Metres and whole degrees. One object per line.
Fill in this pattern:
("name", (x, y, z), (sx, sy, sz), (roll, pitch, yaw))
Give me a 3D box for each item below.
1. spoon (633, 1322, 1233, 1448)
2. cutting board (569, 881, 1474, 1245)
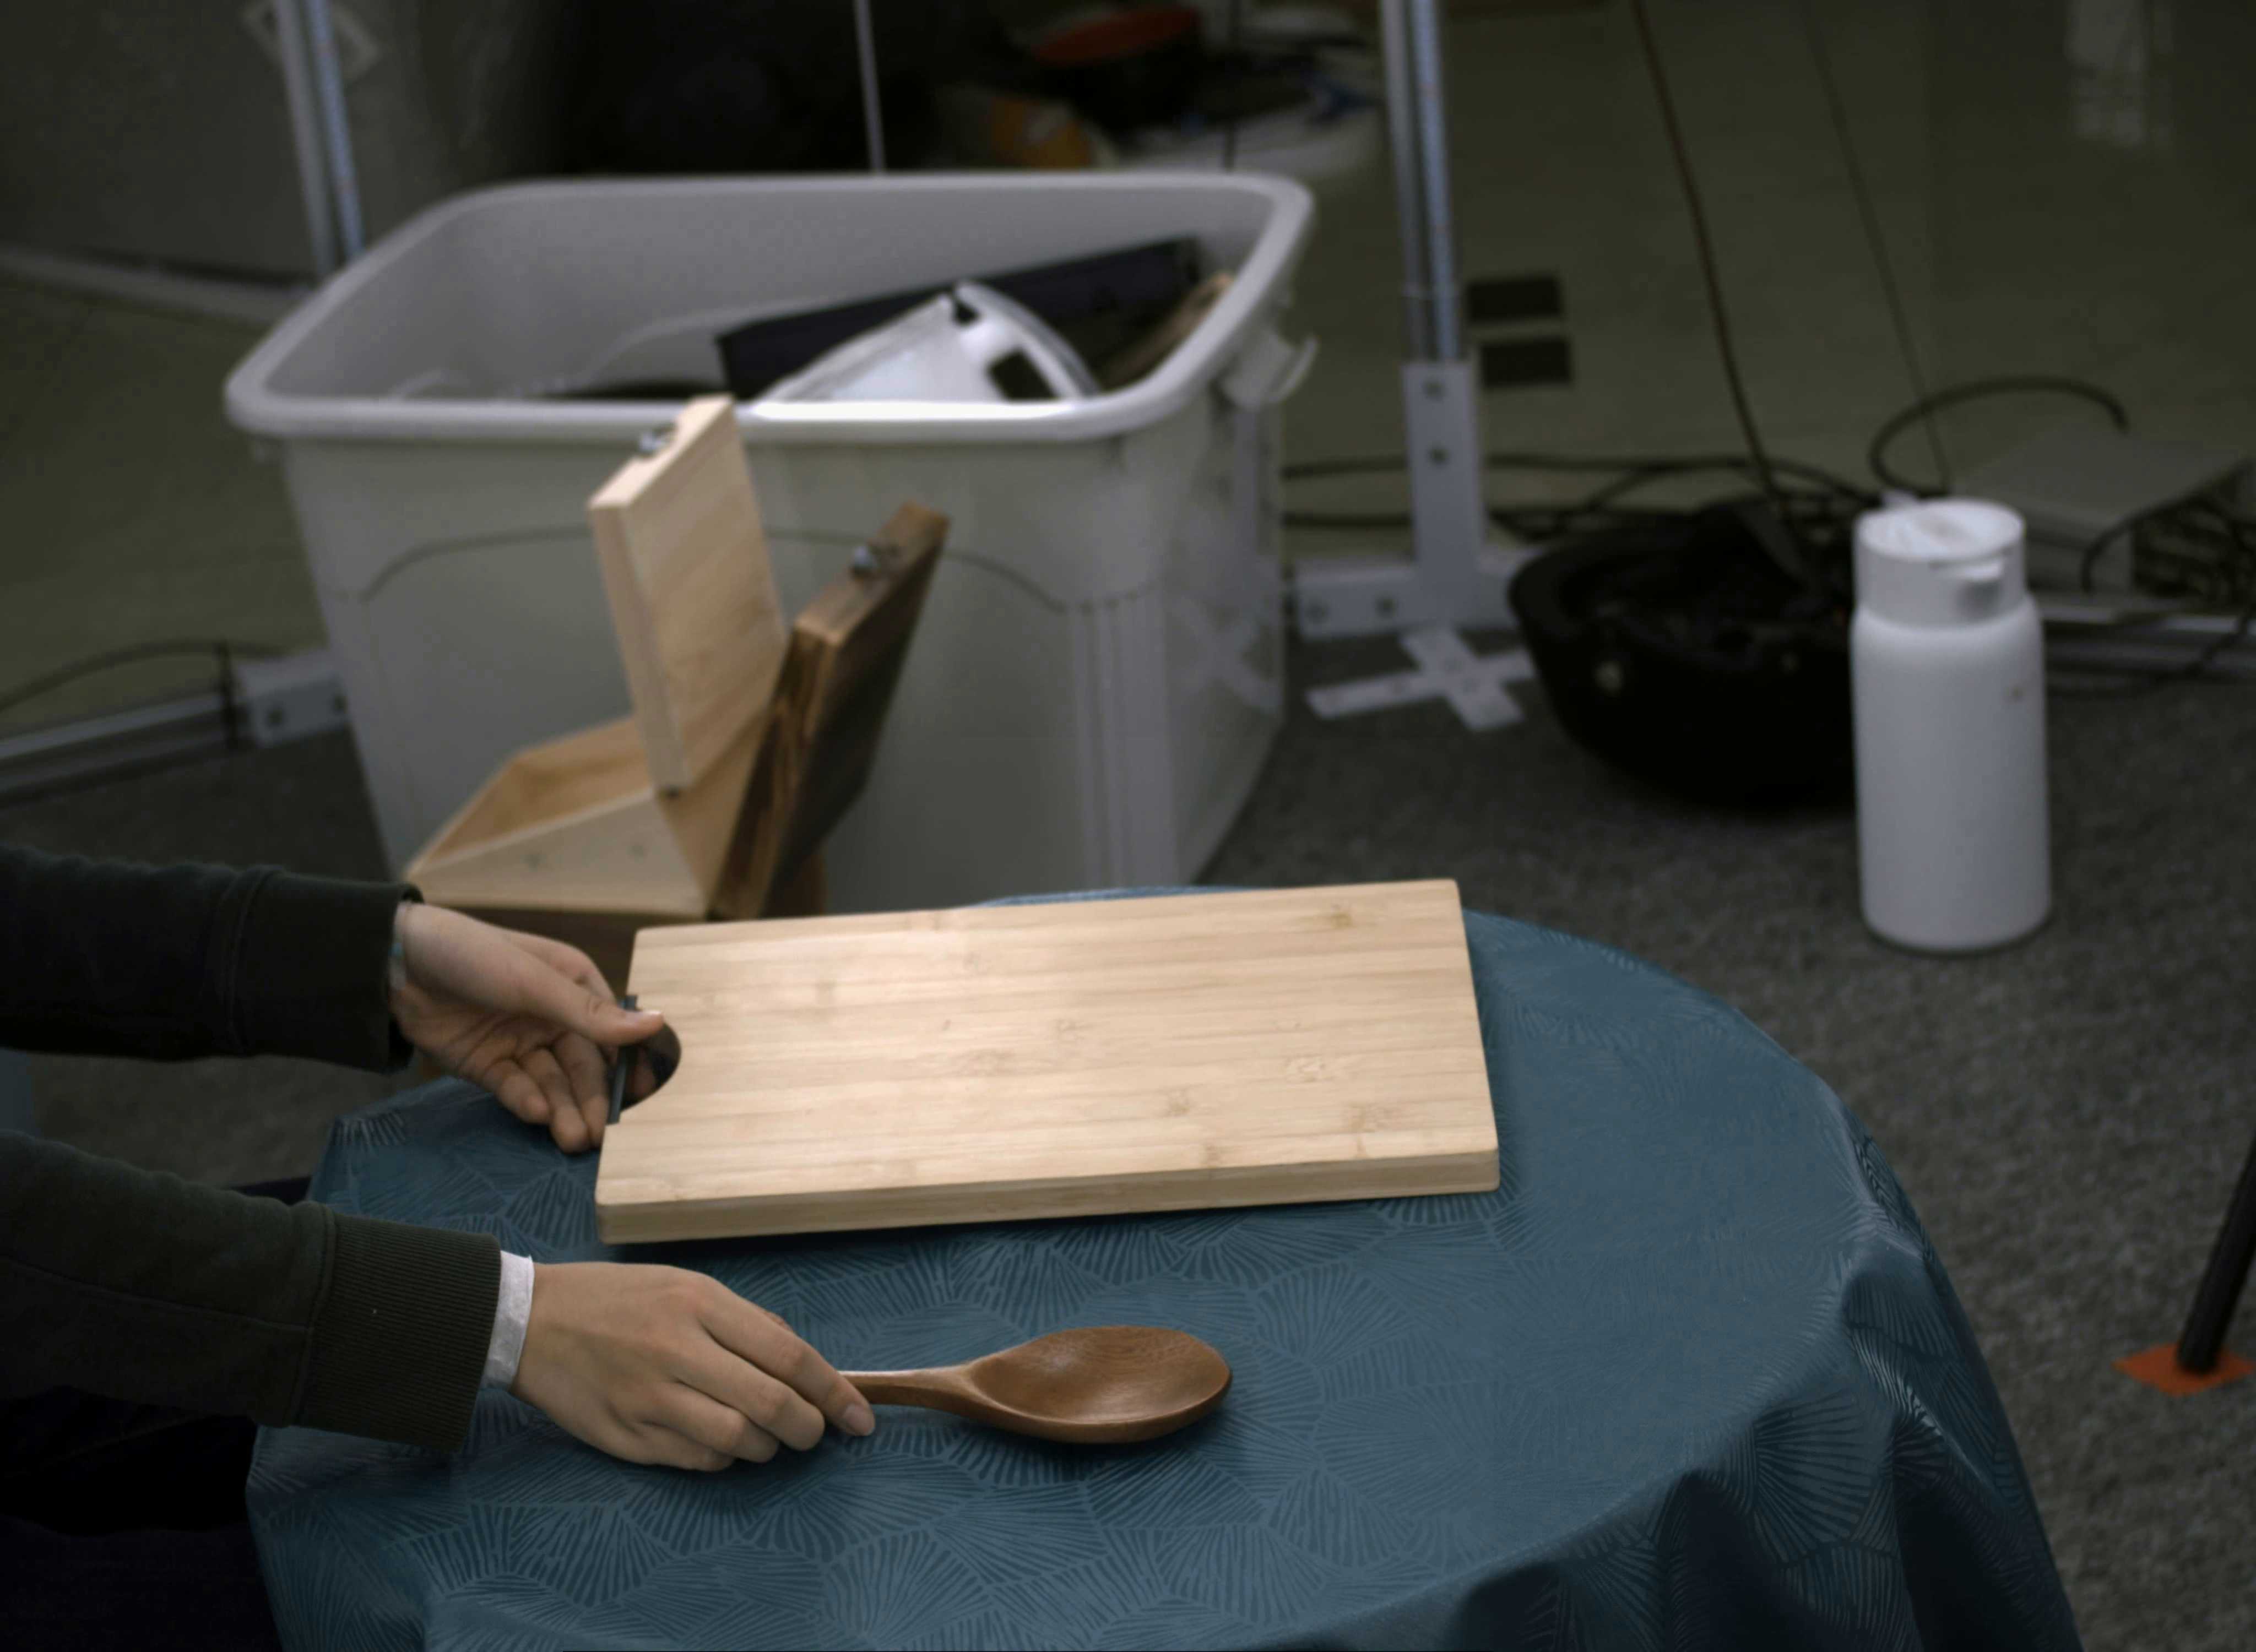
("spoon", (-0.069, 0.200, 2.013), (0.215, 0.017, 0.074), (0, 26, 8))
("cutting board", (-0.039, 0.091, 2.229), (0.348, 0.024, 0.247), (-4, 24, 0))
